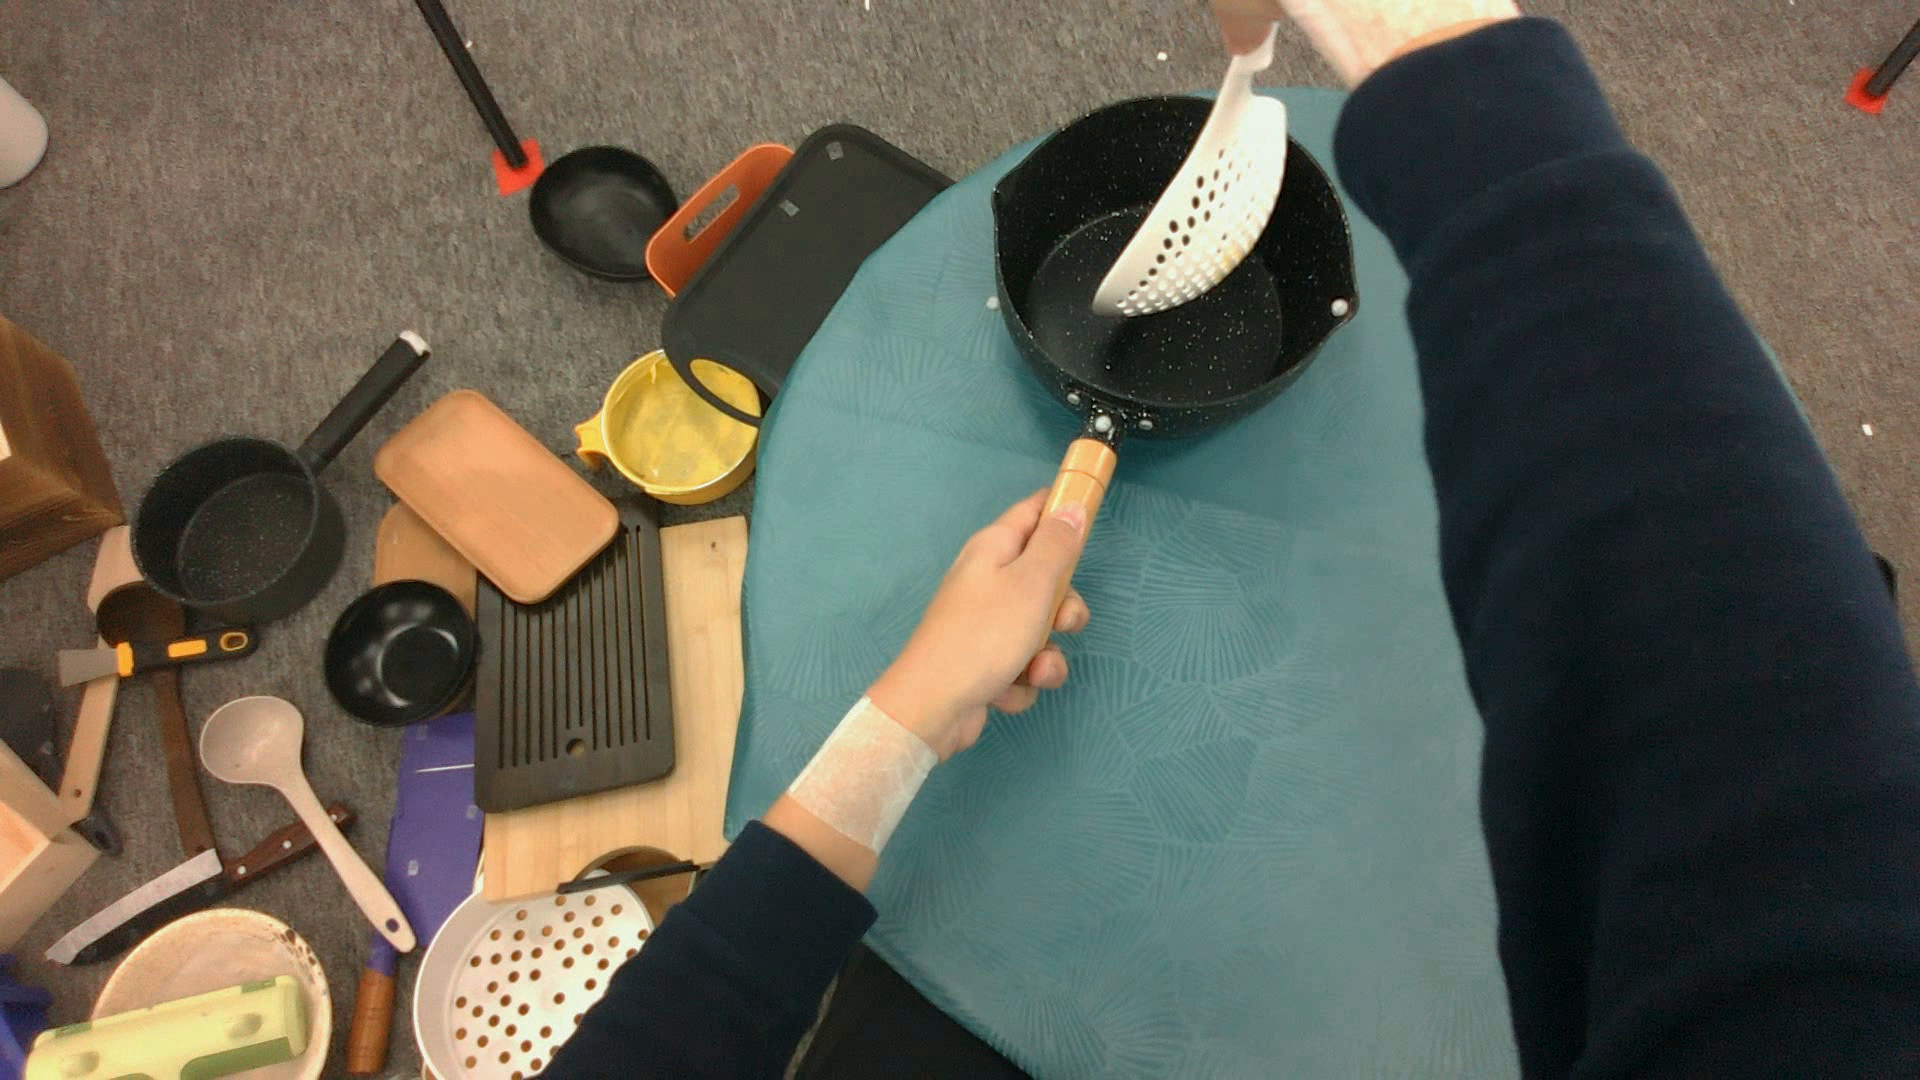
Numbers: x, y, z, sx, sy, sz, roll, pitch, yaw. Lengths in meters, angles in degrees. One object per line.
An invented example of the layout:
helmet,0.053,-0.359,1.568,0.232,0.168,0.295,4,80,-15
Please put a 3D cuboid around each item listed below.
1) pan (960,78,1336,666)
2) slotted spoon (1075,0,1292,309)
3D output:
pan,0.072,-0.081,0.719,0.207,0.108,0.344,19,71,5
slotted spoon,0.125,-0.188,0.617,0.137,0.347,0.050,-42,79,-9
